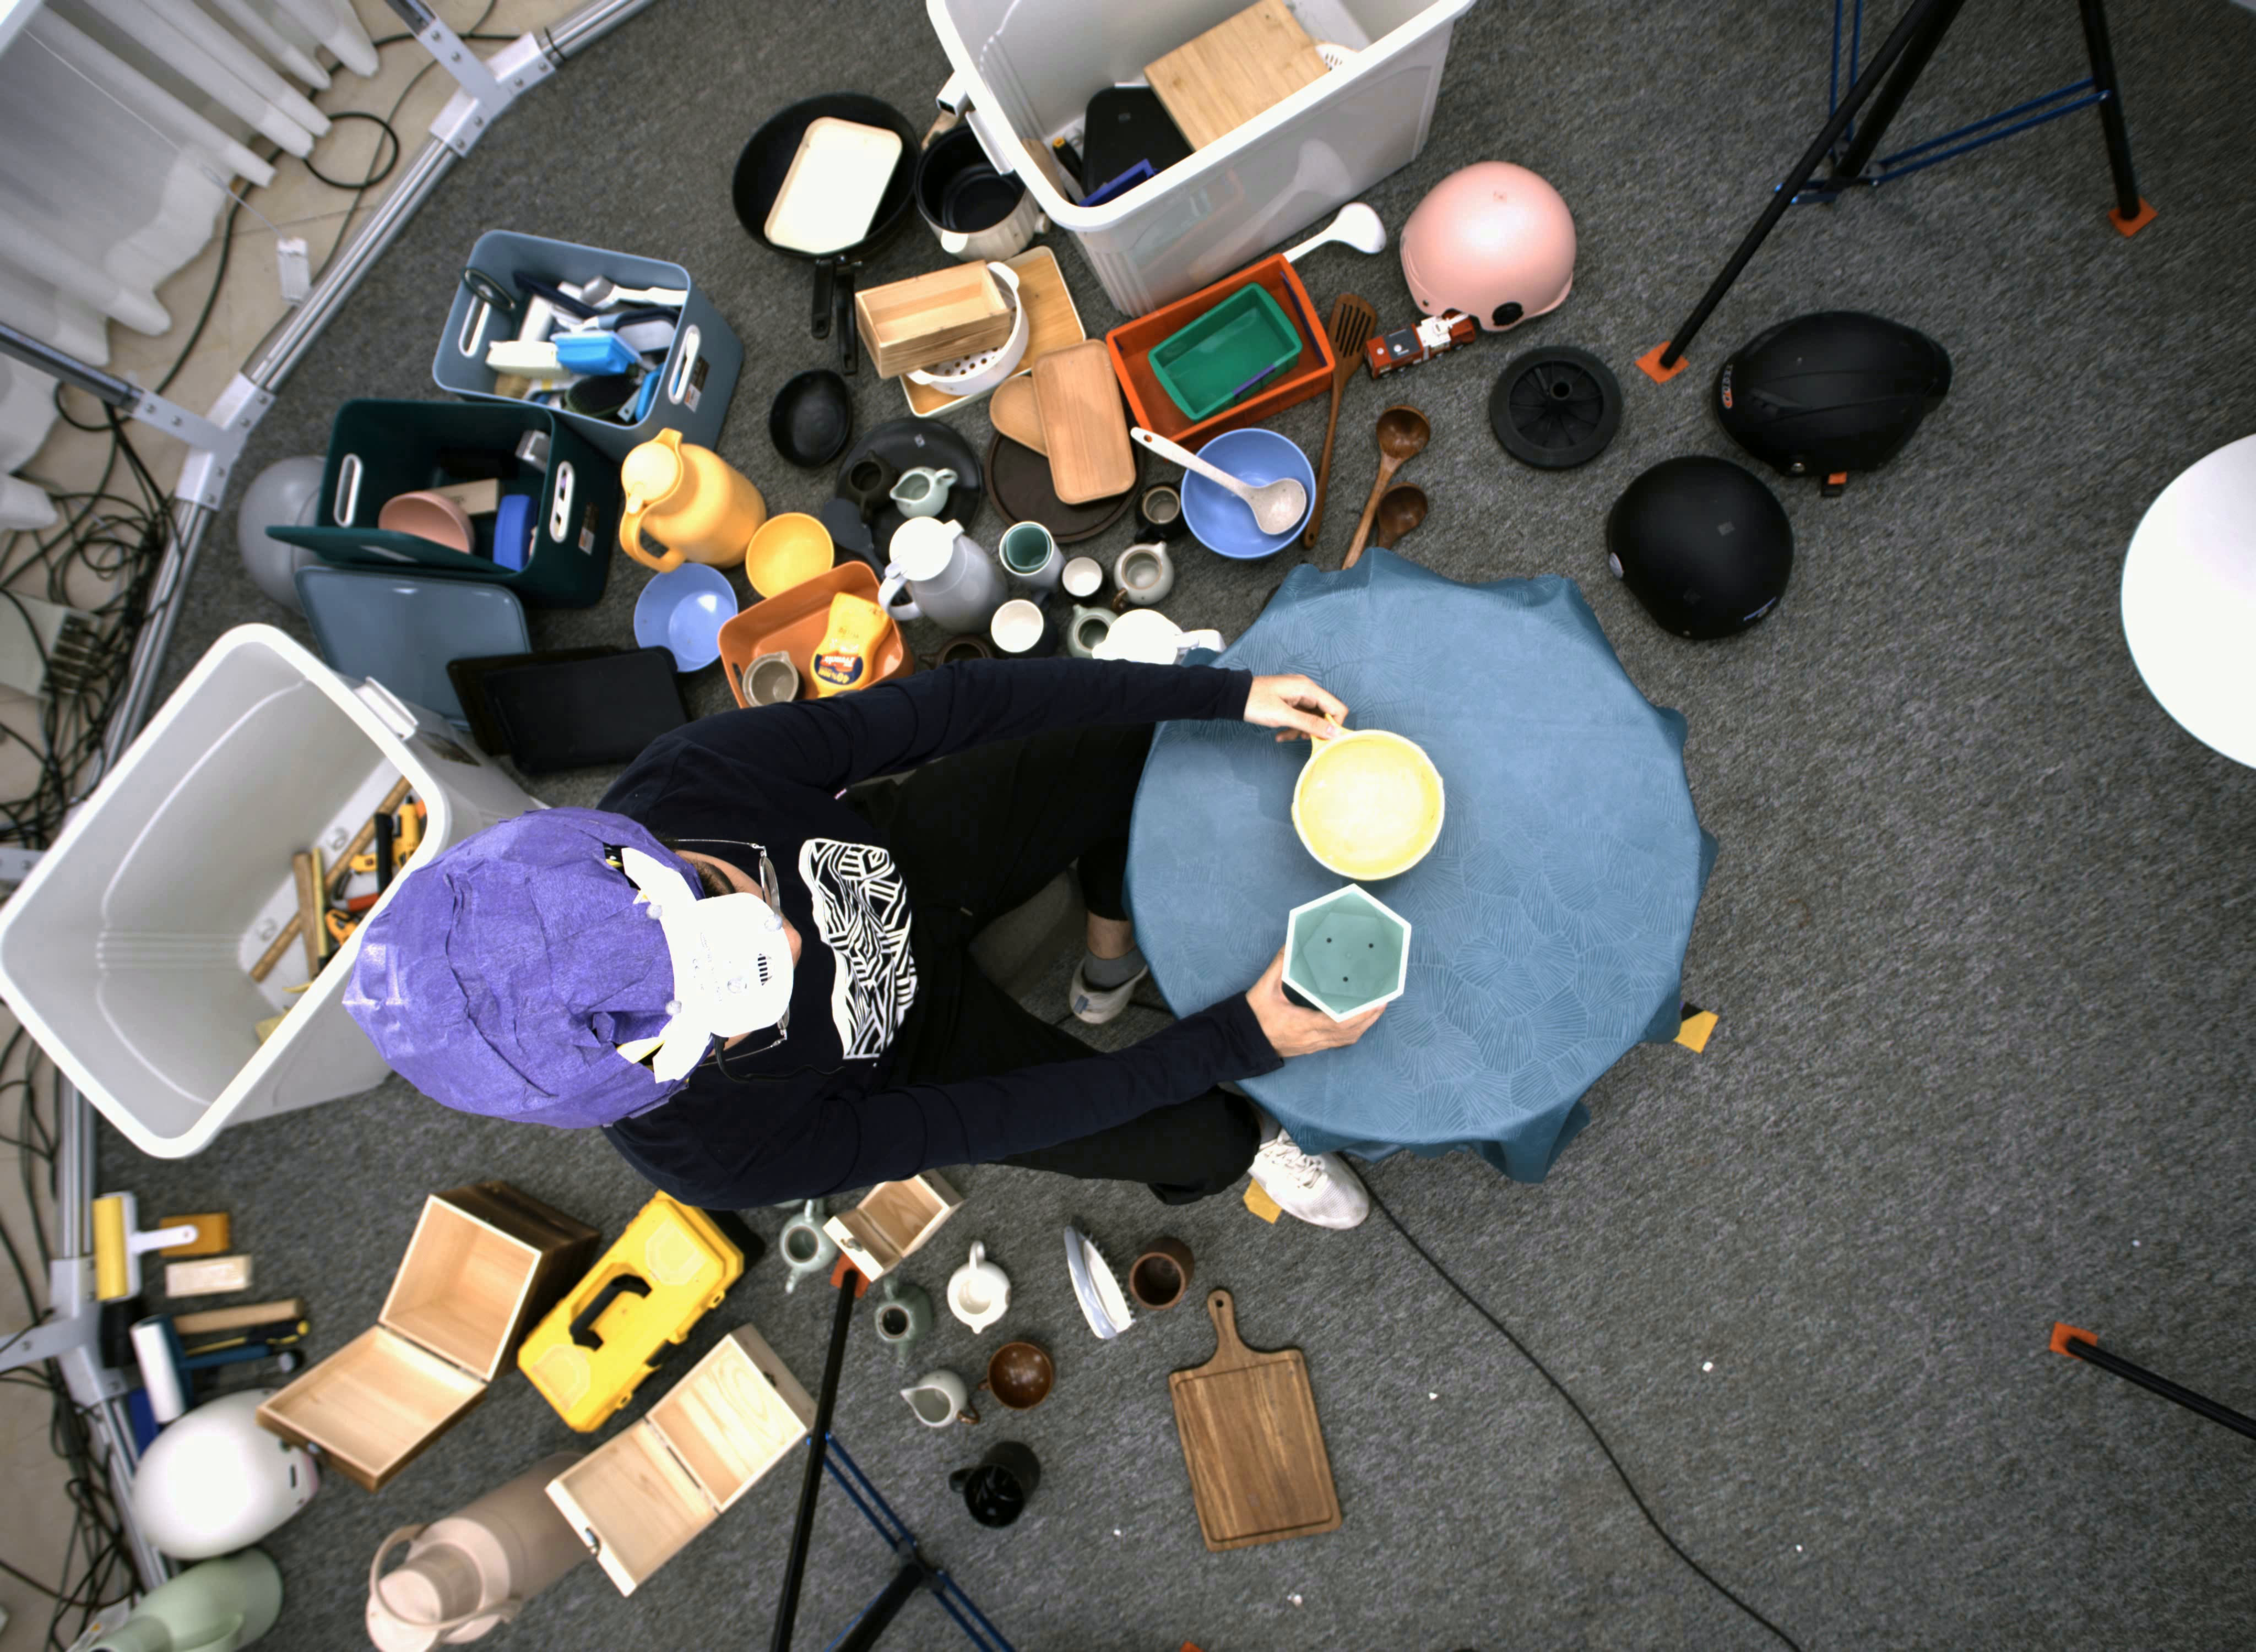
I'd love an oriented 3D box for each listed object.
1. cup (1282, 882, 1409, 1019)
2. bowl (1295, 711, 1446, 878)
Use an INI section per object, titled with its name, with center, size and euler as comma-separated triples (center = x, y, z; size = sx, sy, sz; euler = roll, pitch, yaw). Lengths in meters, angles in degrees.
[cup]
center = 0.220, 0.125, 1.382
size = 0.115, 0.163, 0.130
euler = 5, 85, 12
[bowl]
center = 0.241, -0.038, 1.422
size = 0.154, 0.074, 0.179
euler = -36, 92, 9
